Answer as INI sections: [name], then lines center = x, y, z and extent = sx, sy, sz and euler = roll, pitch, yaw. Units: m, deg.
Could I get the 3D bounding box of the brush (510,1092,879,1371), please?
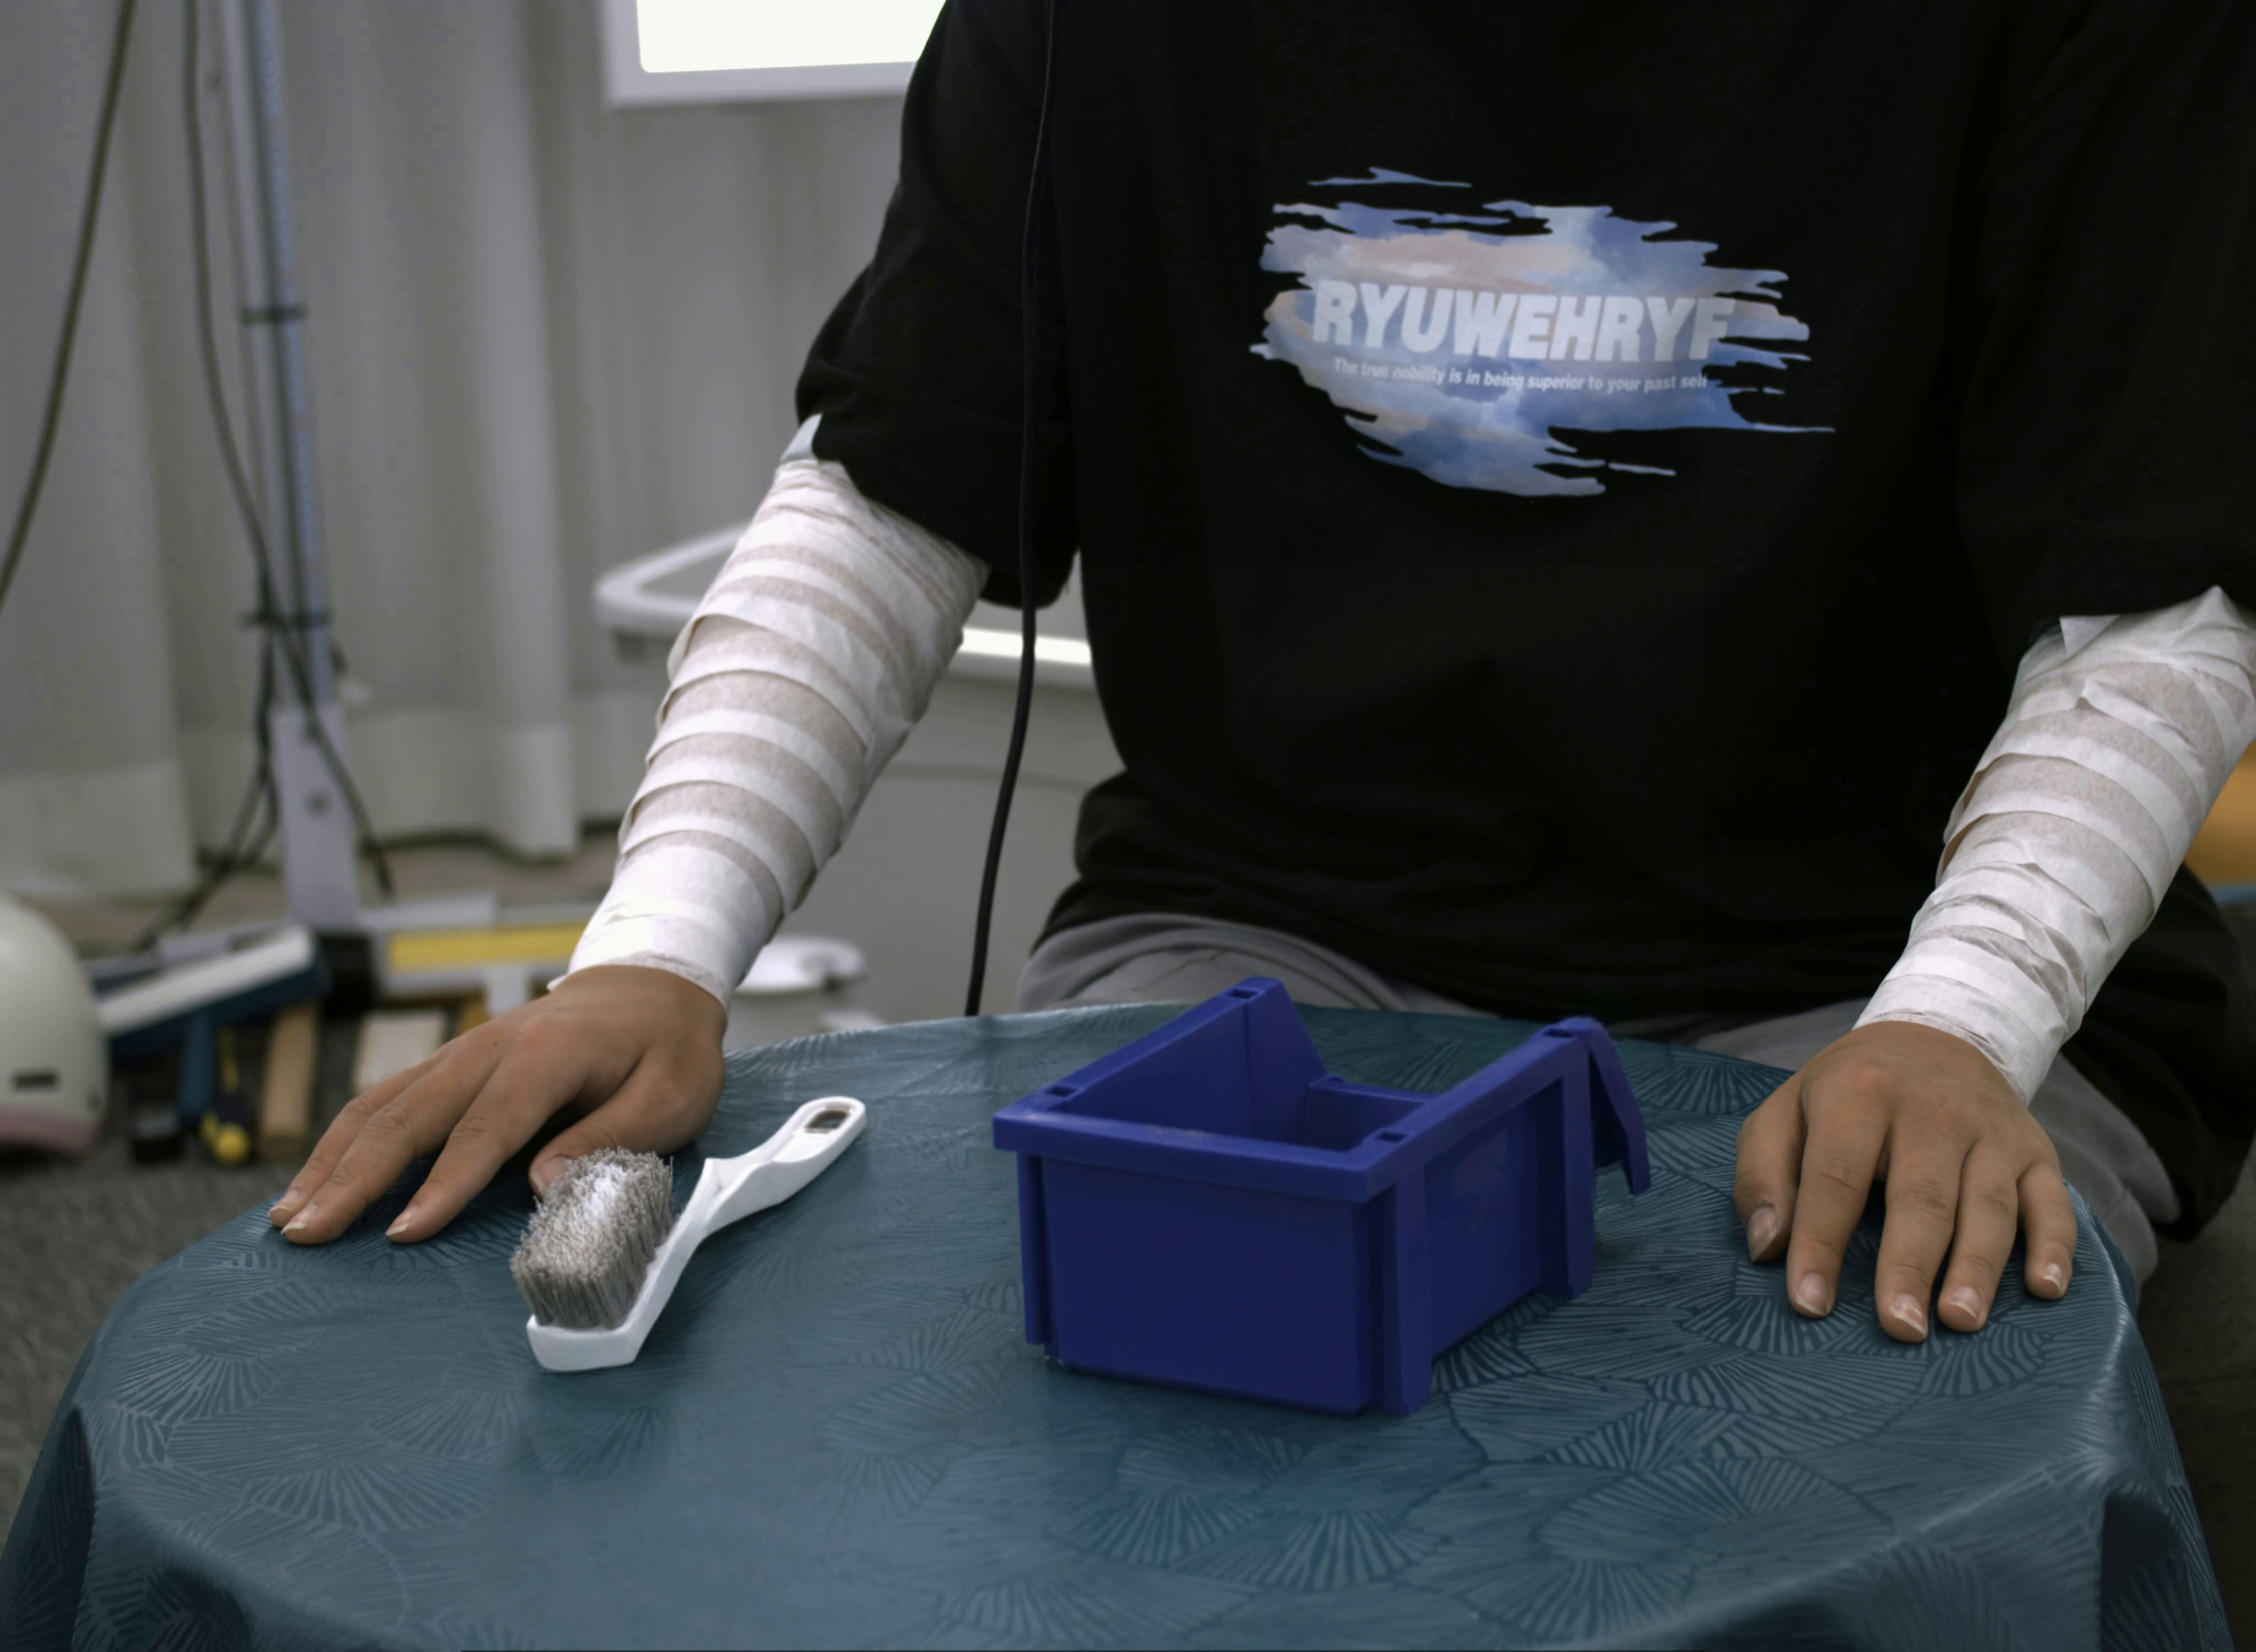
[brush]
center = -0.128, 0.104, 1.677
extent = 0.034, 0.050, 0.244
euler = 3, 16, 18

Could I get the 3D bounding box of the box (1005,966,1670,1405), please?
[box]
center = 0.063, 0.100, 1.597
extent = 0.125, 0.081, 0.179
euler = 6, 18, 32
